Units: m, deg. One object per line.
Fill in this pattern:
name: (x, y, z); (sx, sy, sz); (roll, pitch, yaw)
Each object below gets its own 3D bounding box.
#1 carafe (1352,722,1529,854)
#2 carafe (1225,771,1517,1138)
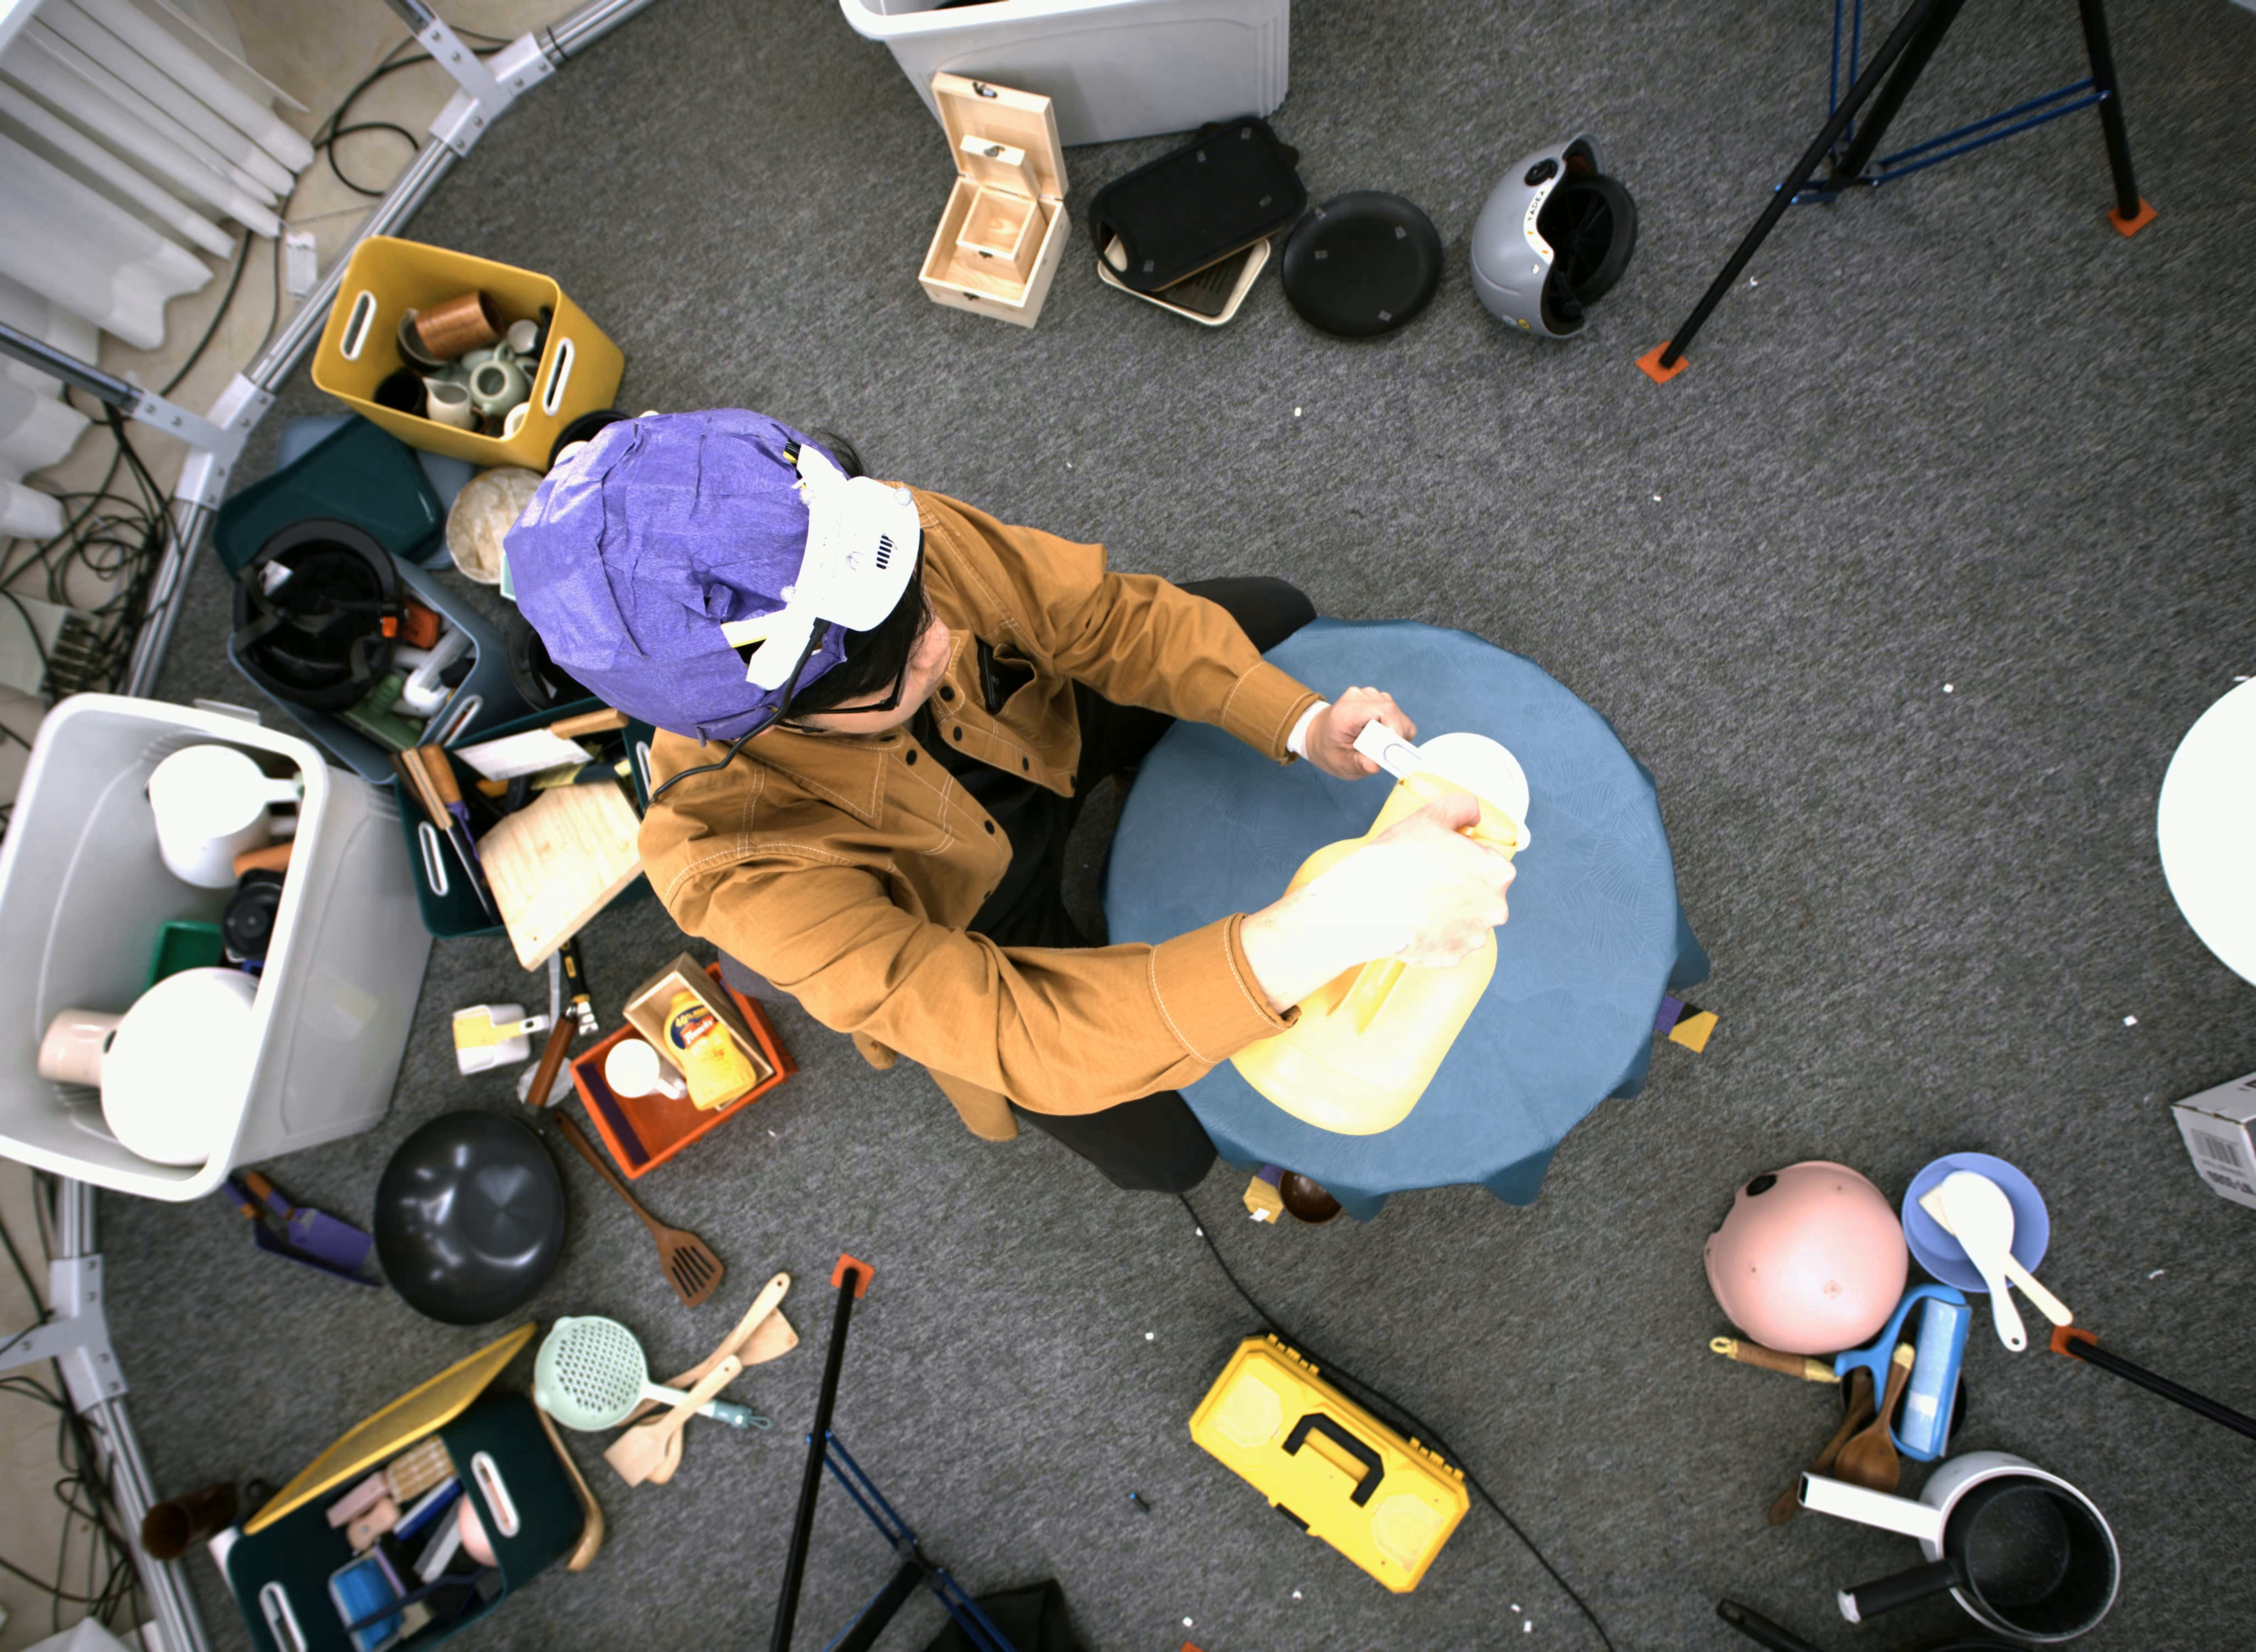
carafe: (0.291, -0.033, 1.272); (0.172, 0.267, 0.125); (35, 102, 11)
carafe: (0.181, 0.091, 0.999); (0.163, 0.199, 0.264); (27, 107, 11)
